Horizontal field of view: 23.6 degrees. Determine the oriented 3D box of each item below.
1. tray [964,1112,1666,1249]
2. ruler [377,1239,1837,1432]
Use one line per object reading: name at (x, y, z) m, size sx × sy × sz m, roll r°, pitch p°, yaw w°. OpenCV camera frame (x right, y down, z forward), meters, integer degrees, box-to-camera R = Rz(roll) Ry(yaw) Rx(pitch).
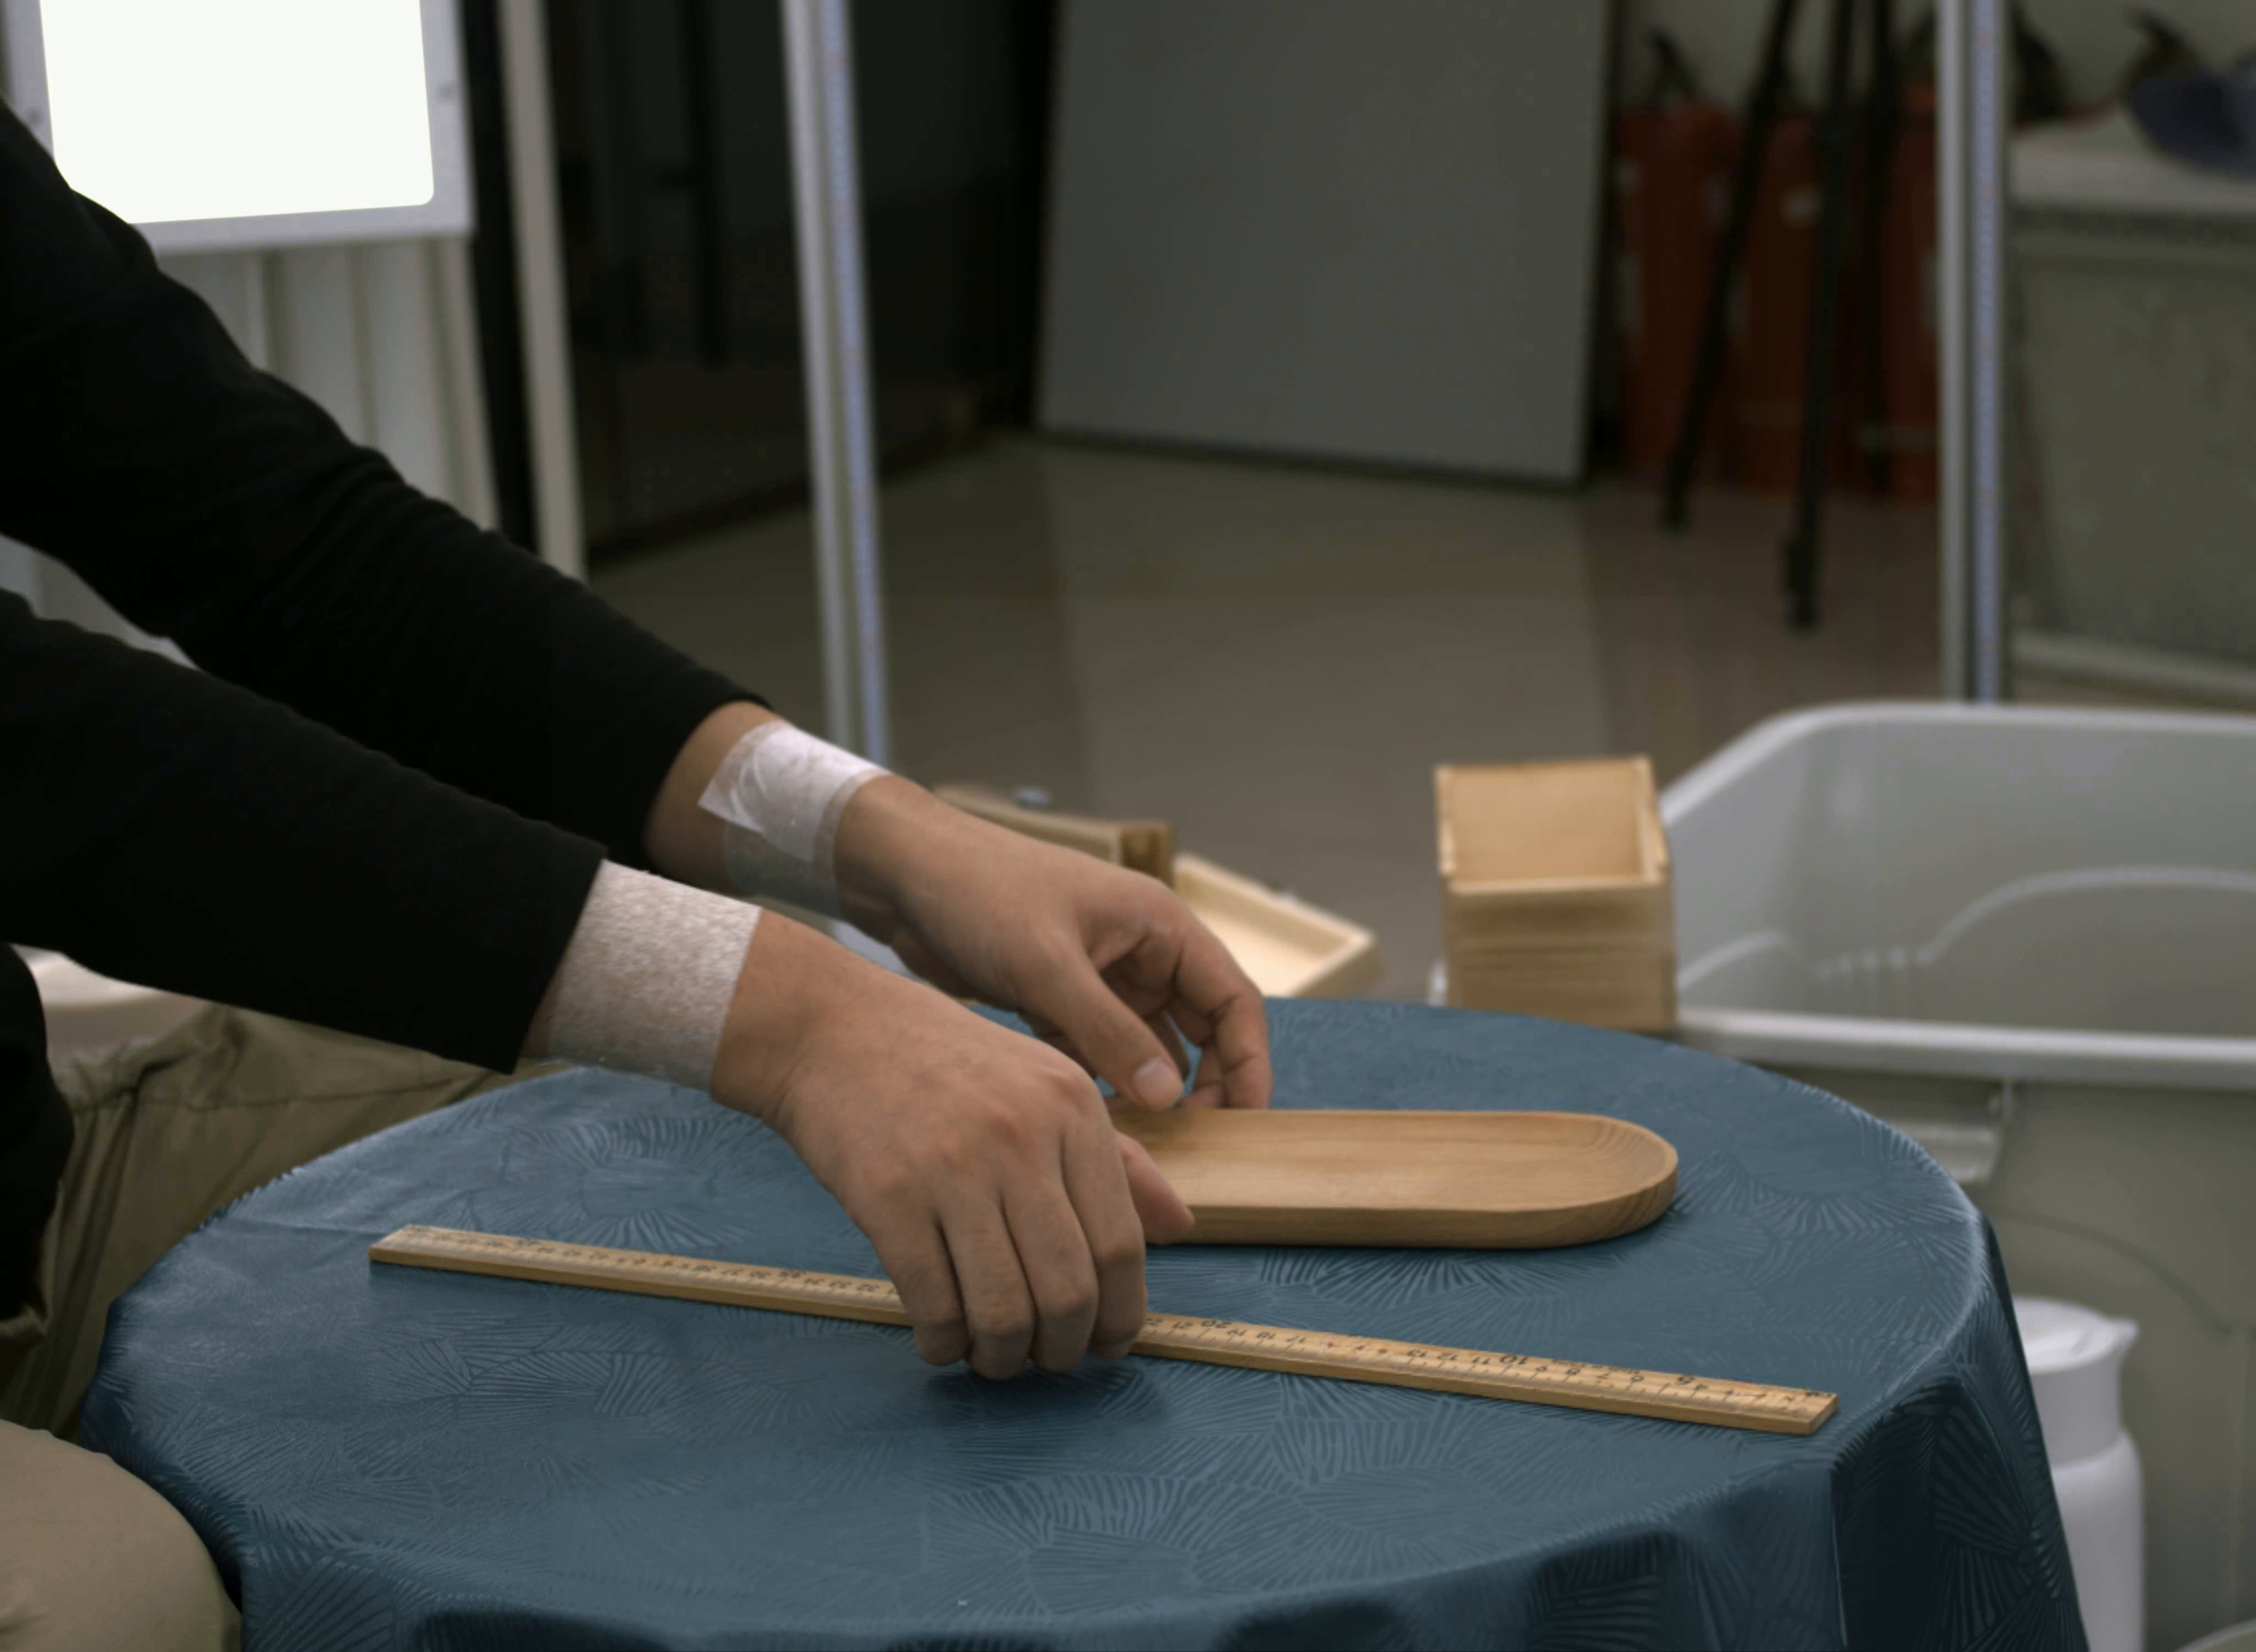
tray at (0.060, 0.115, 1.741) m, size 0.230 × 0.020 × 0.101 m, roll -3°, pitch 12°, yaw 13°
ruler at (-0.020, 0.152, 1.641) m, size 0.502 × 0.006 × 0.026 m, roll 3°, pitch 14°, yaw 30°
